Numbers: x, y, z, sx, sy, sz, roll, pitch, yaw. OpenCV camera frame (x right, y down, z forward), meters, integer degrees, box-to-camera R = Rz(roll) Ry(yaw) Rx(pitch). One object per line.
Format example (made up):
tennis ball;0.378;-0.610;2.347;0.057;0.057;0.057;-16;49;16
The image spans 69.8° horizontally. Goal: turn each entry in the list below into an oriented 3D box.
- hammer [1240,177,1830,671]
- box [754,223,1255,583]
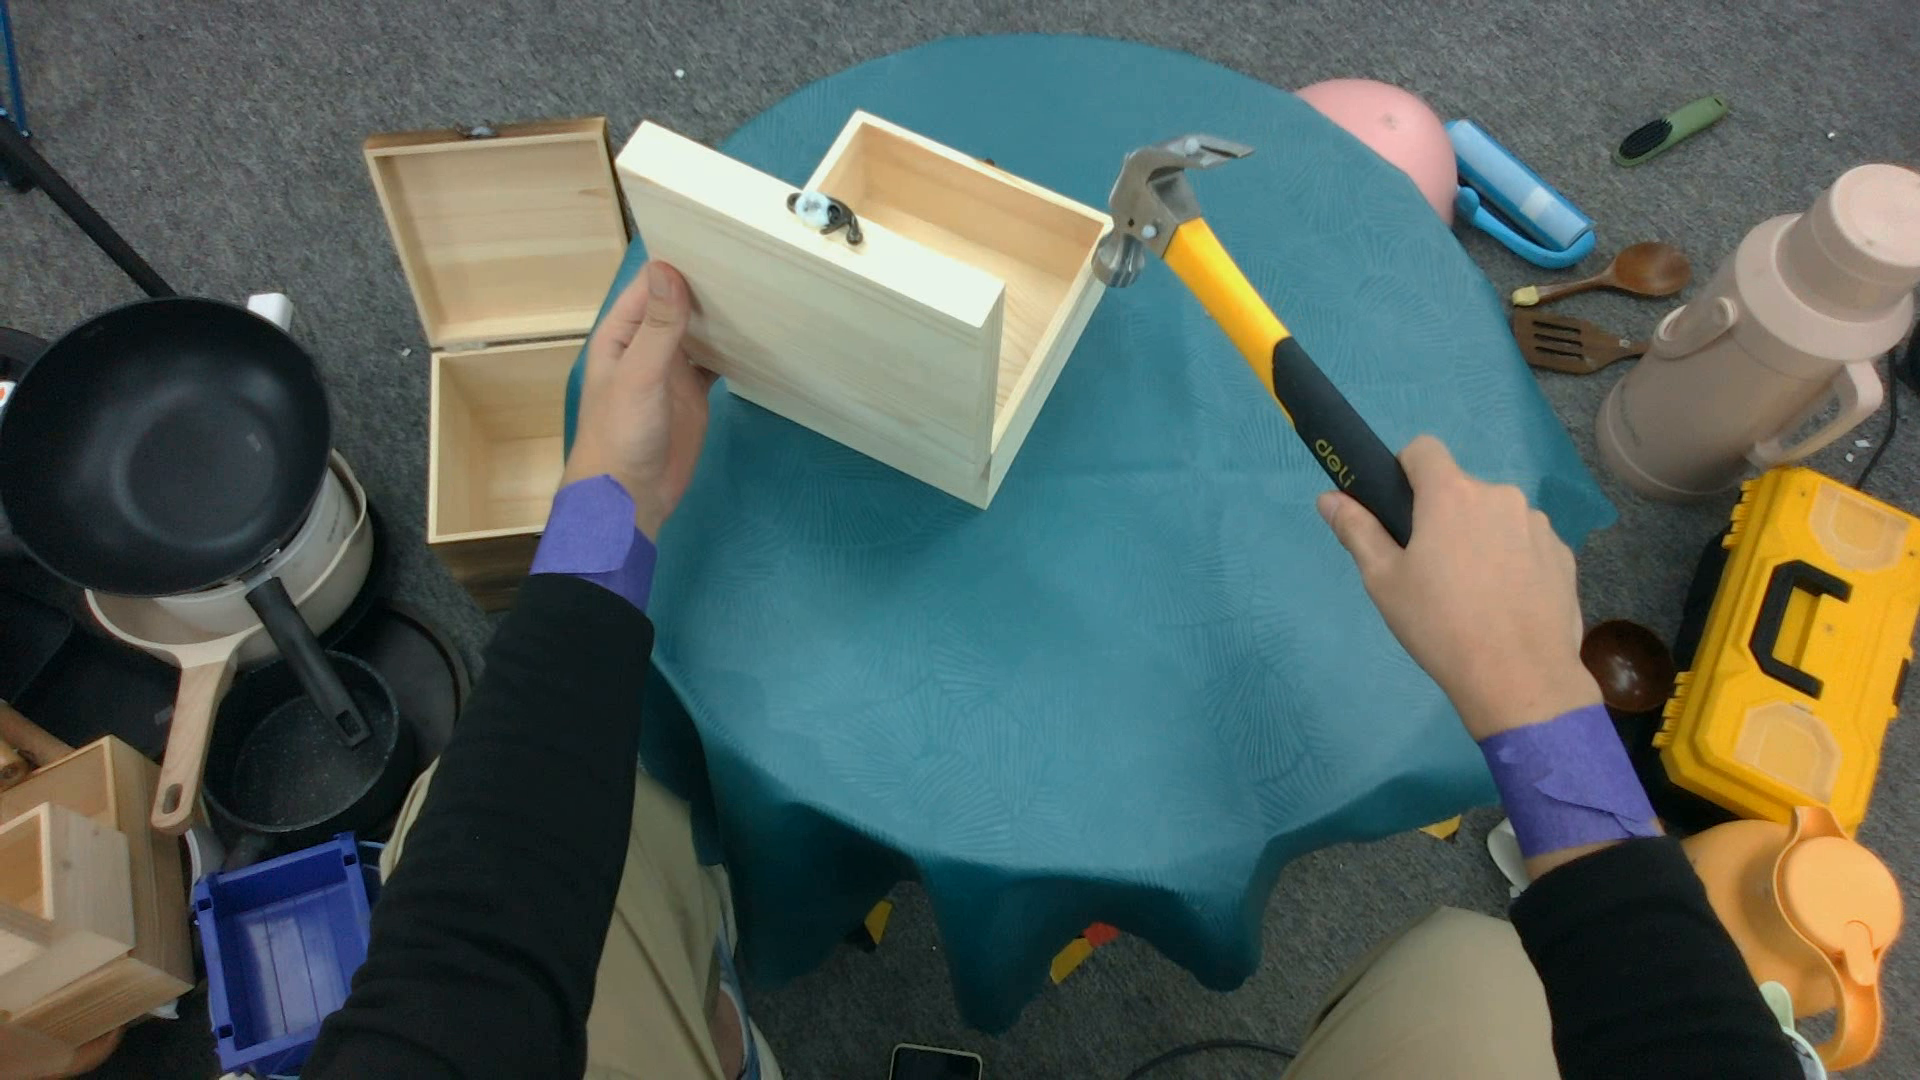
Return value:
hammer;0.266;-0.062;0.676;0.032;0.131;0.339;-33;61;-17
box;0.048;-0.100;0.761;0.181;0.252;0.266;14;65;15
